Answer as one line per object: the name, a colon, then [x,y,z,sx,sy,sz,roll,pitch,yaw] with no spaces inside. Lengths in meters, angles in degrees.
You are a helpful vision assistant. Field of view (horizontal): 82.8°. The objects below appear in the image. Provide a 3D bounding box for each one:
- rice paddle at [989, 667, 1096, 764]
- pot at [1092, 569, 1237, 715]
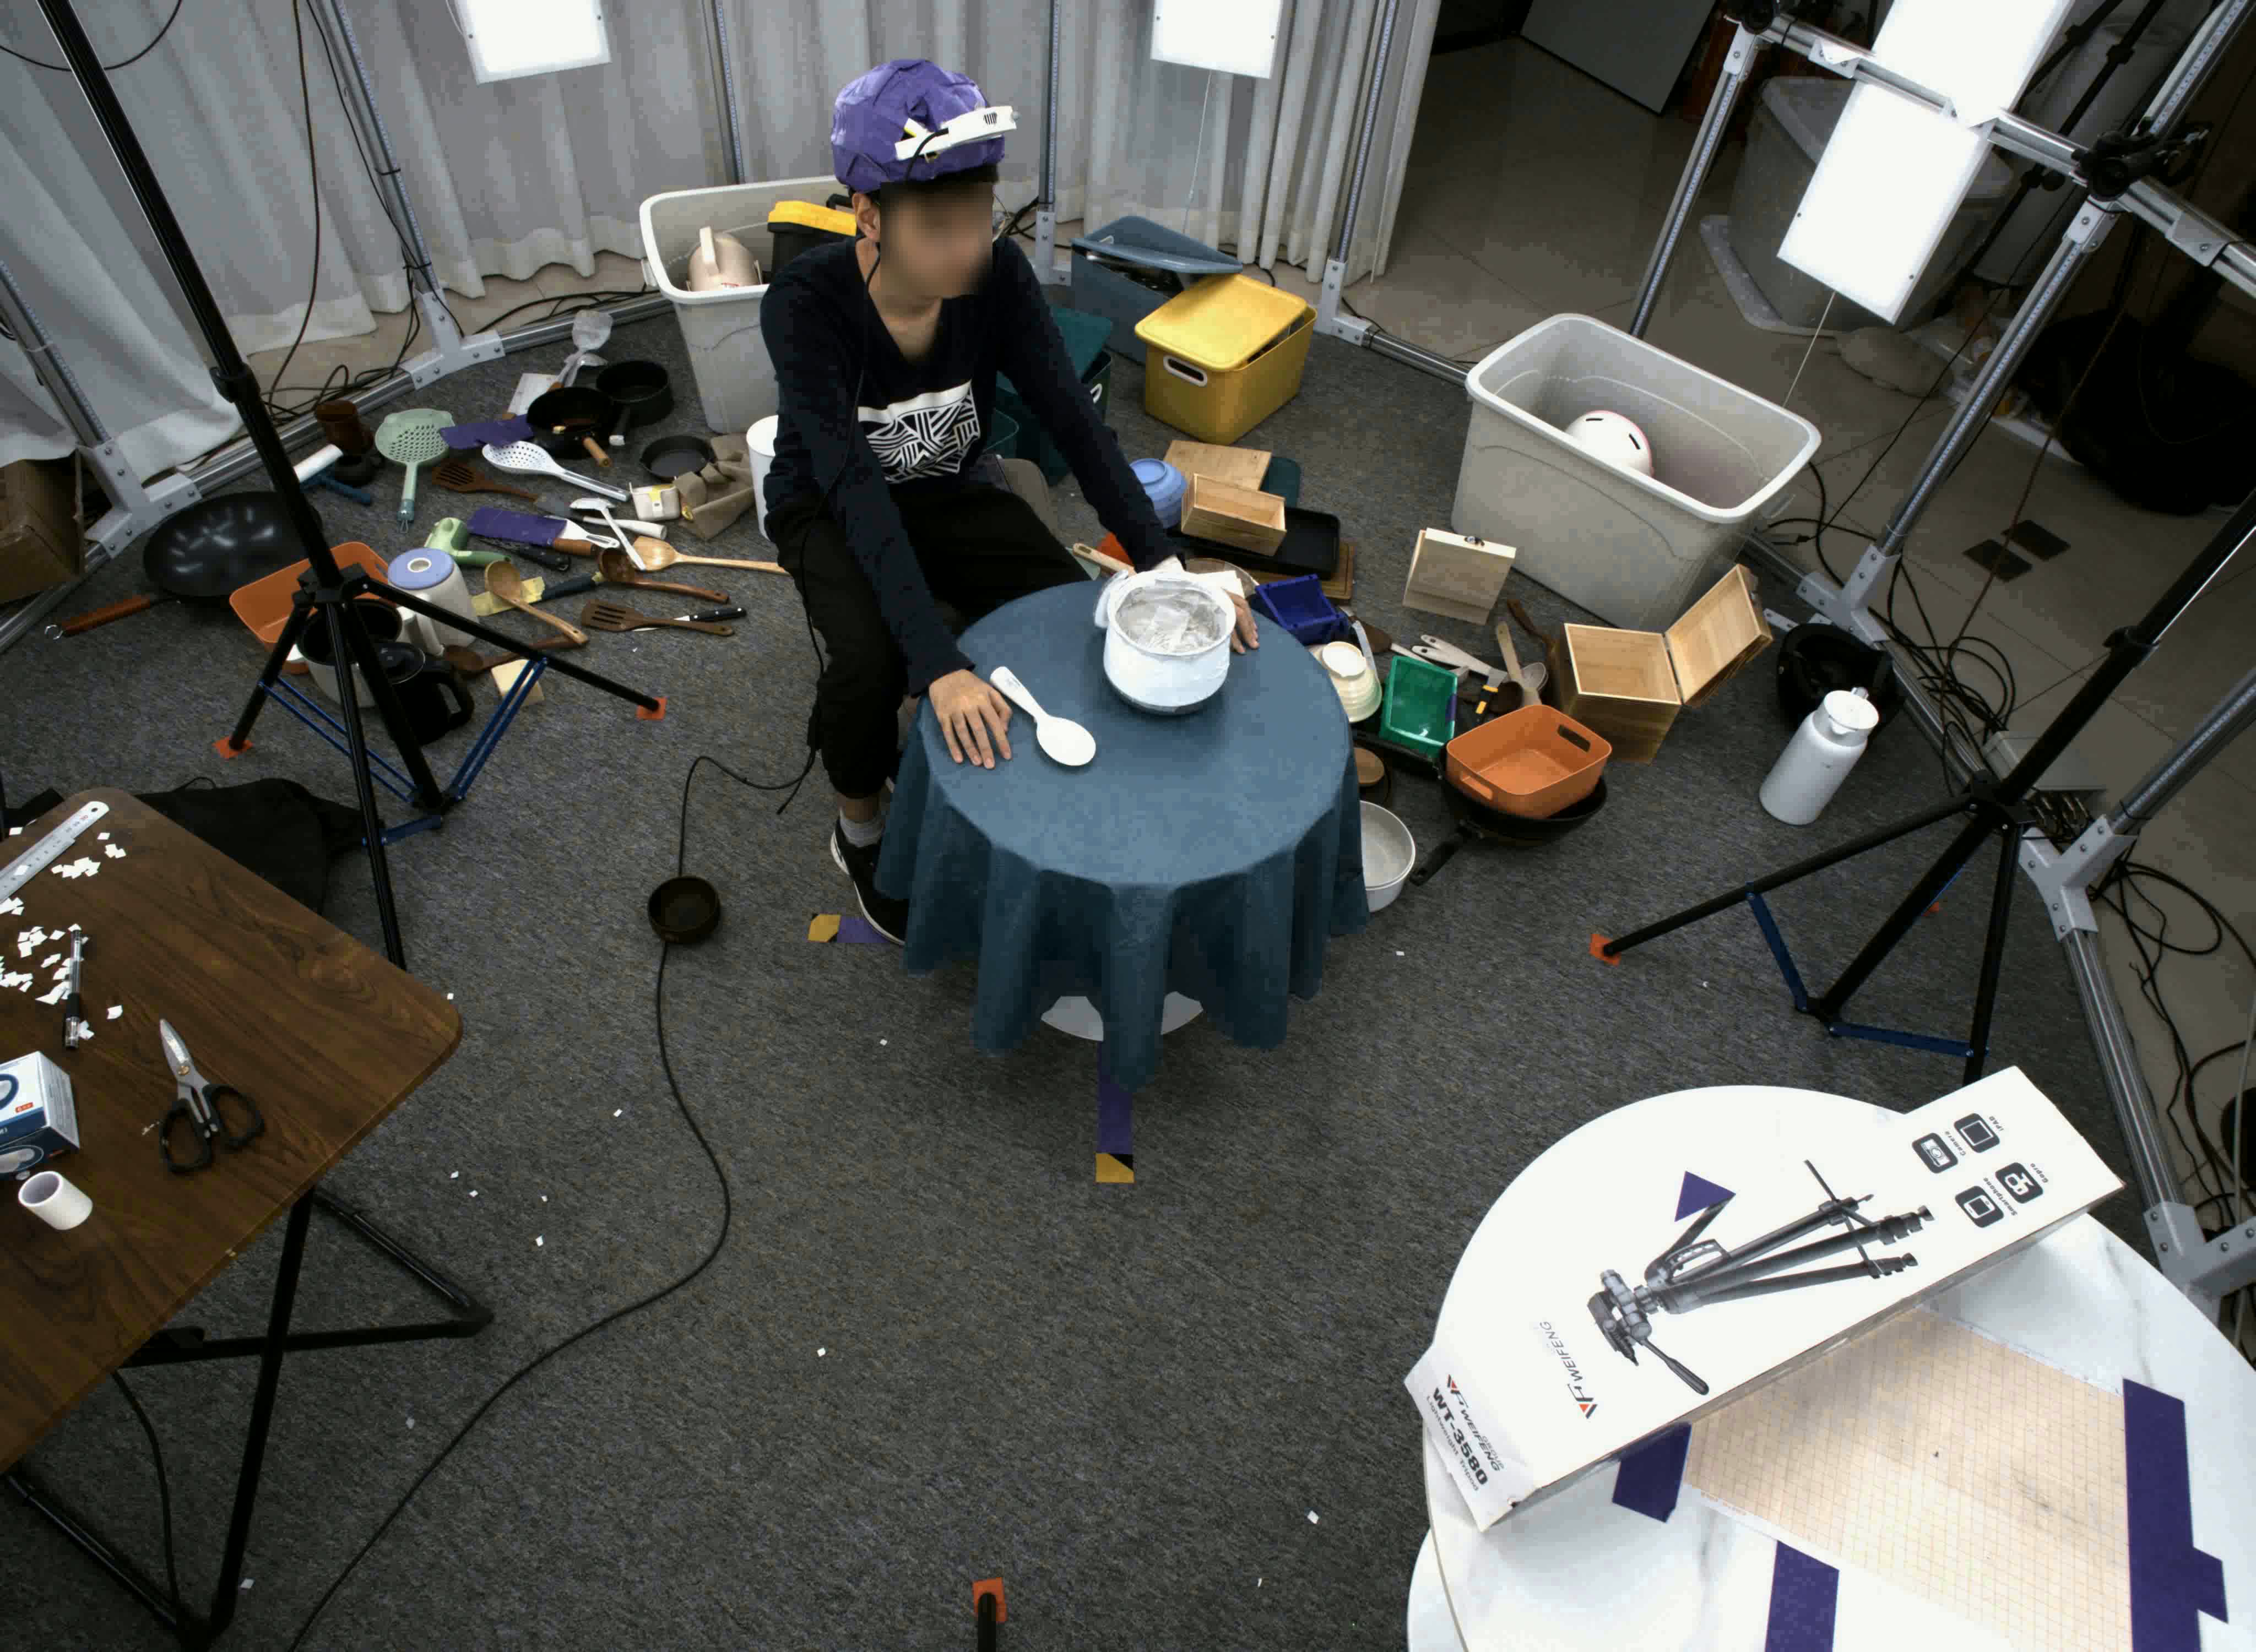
rice paddle: [-0.119,-0.152,1.773,0.069,0.029,0.209,-31,57,-25]
pot: [0.037,-0.270,1.816,0.180,0.133,0.237,-32,59,-30]
